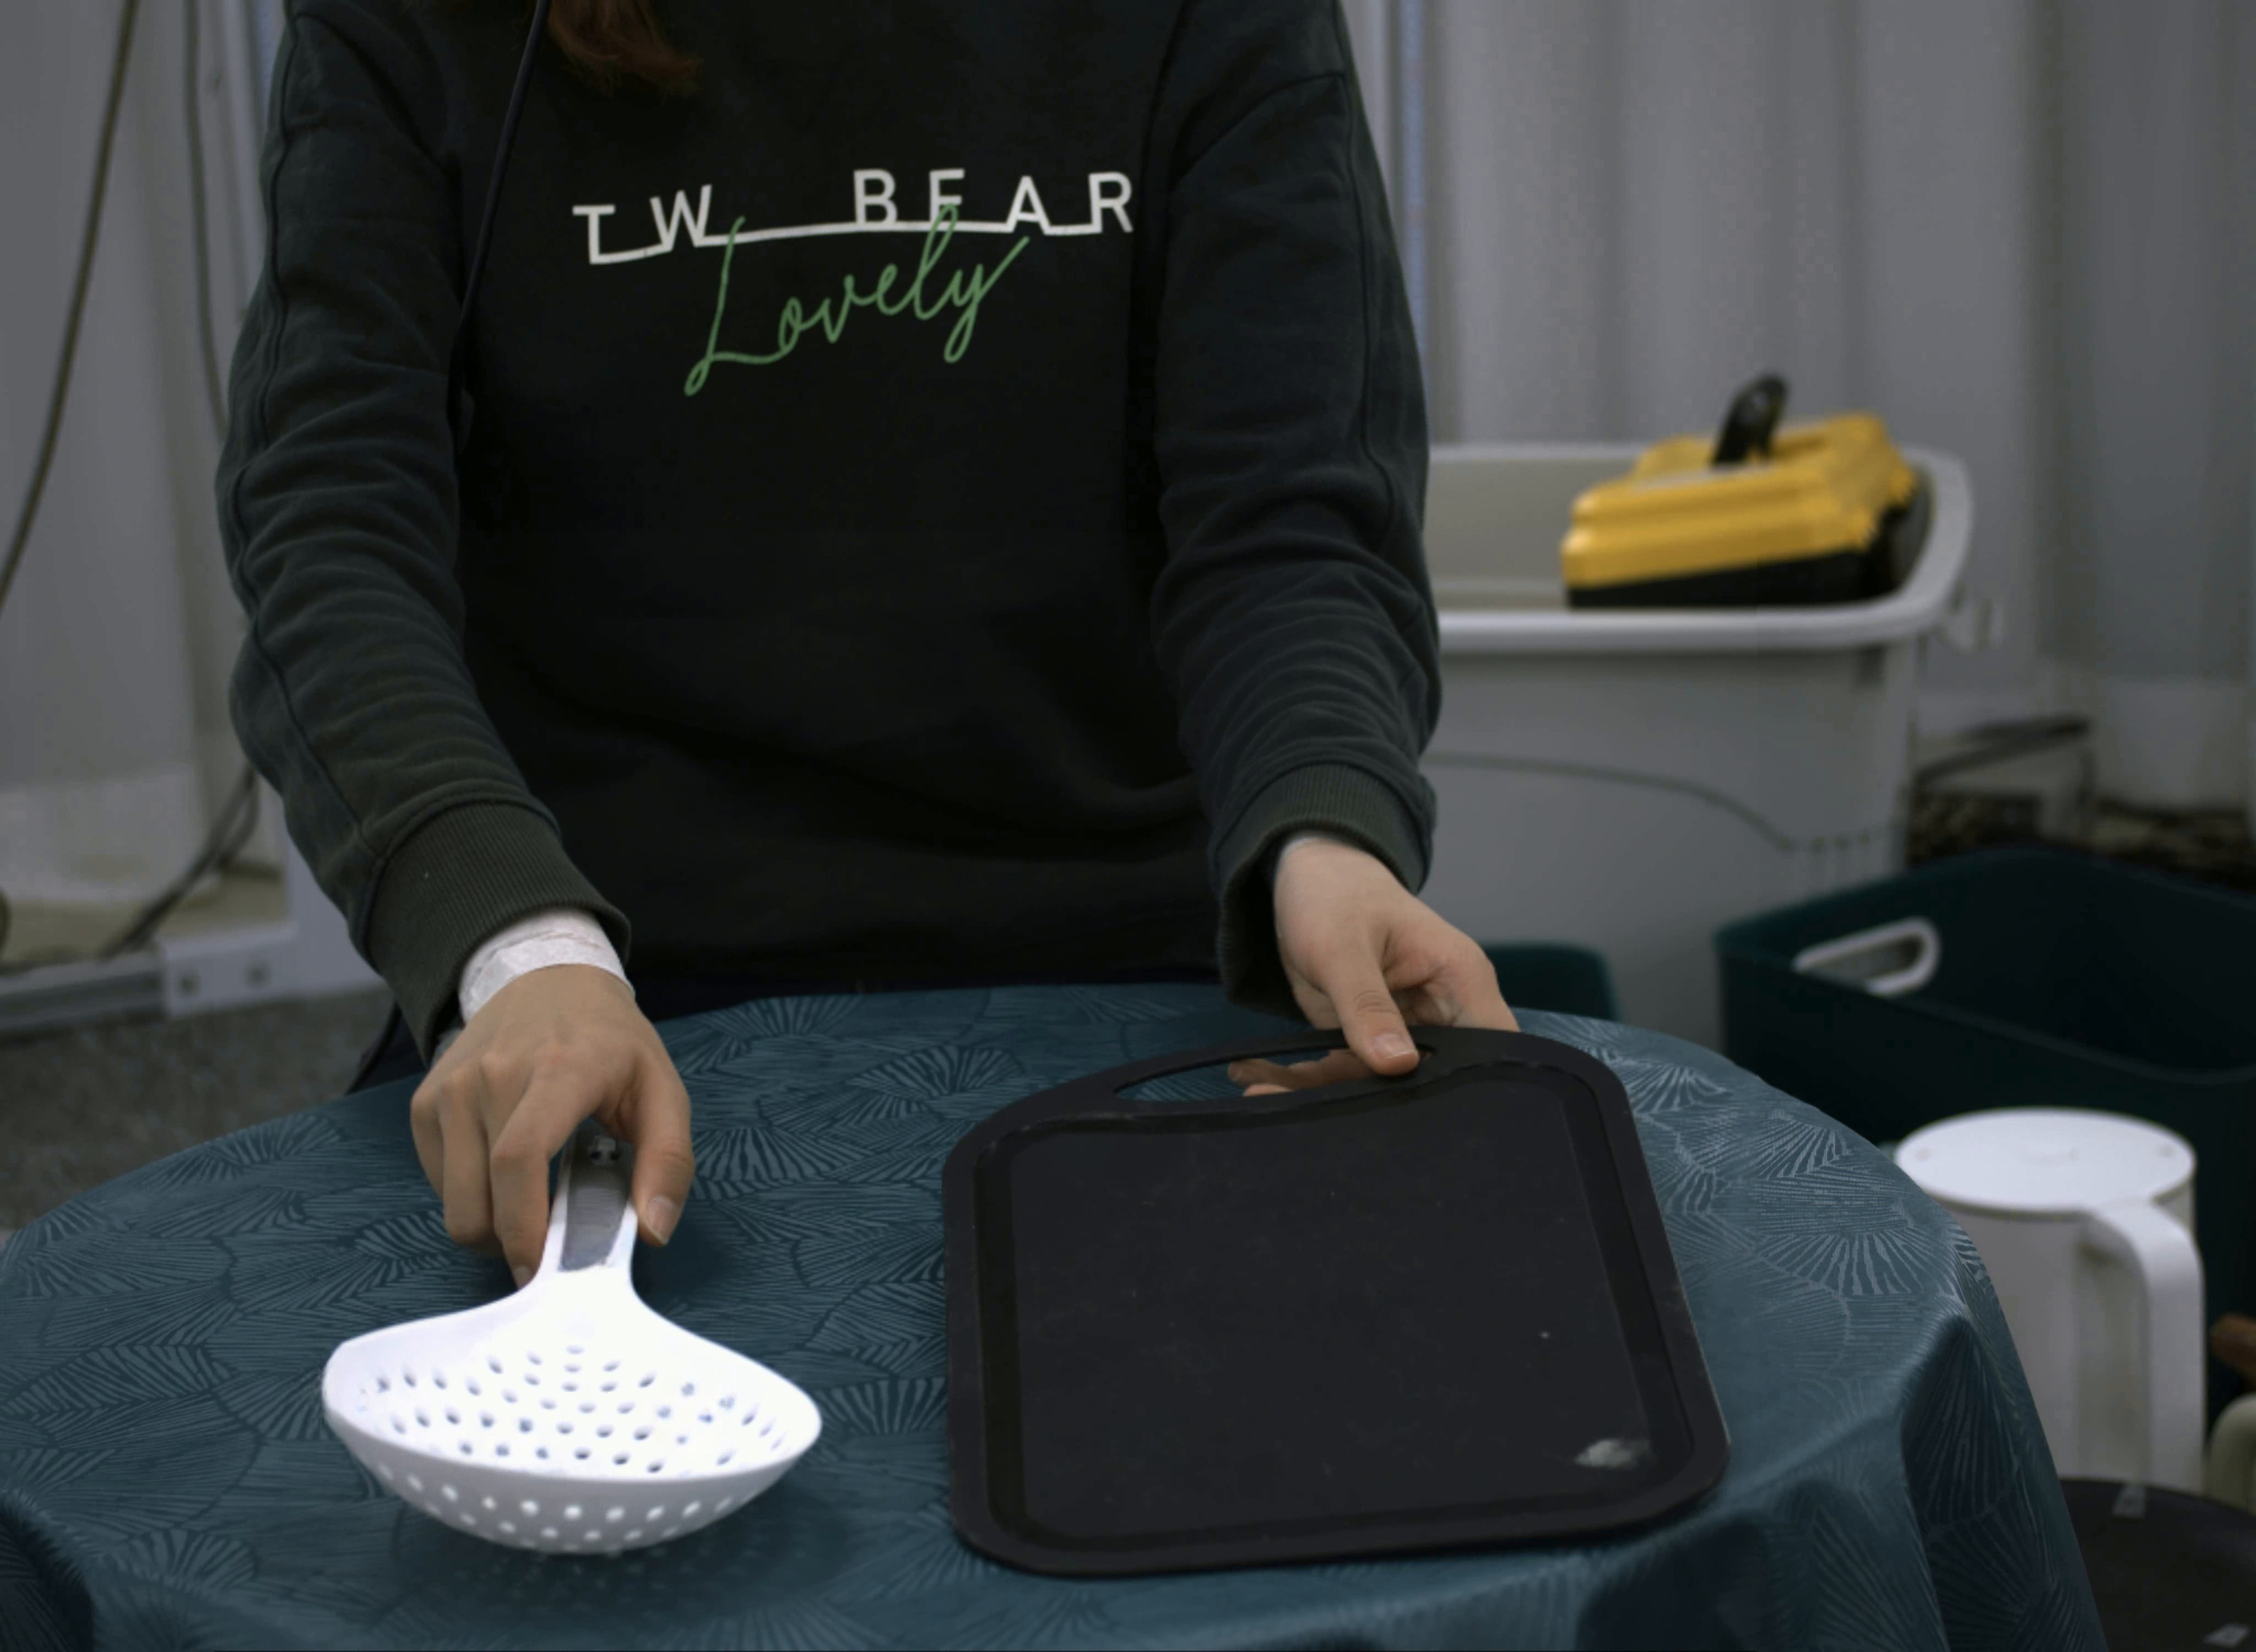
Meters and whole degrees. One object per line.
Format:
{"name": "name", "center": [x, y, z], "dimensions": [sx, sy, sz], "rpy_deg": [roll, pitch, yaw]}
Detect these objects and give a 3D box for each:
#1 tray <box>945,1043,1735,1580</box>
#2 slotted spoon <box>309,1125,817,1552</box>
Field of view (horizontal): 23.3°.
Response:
{"name": "tray", "center": [0.052, 0.129, 1.562], "dimensions": [0.210, 0.010, 0.328], "rpy_deg": [-5, 22, 0]}
{"name": "slotted spoon", "center": [-0.156, 0.136, 1.557], "dimensions": [0.135, 0.045, 0.352], "rpy_deg": [8, 15, -4]}
